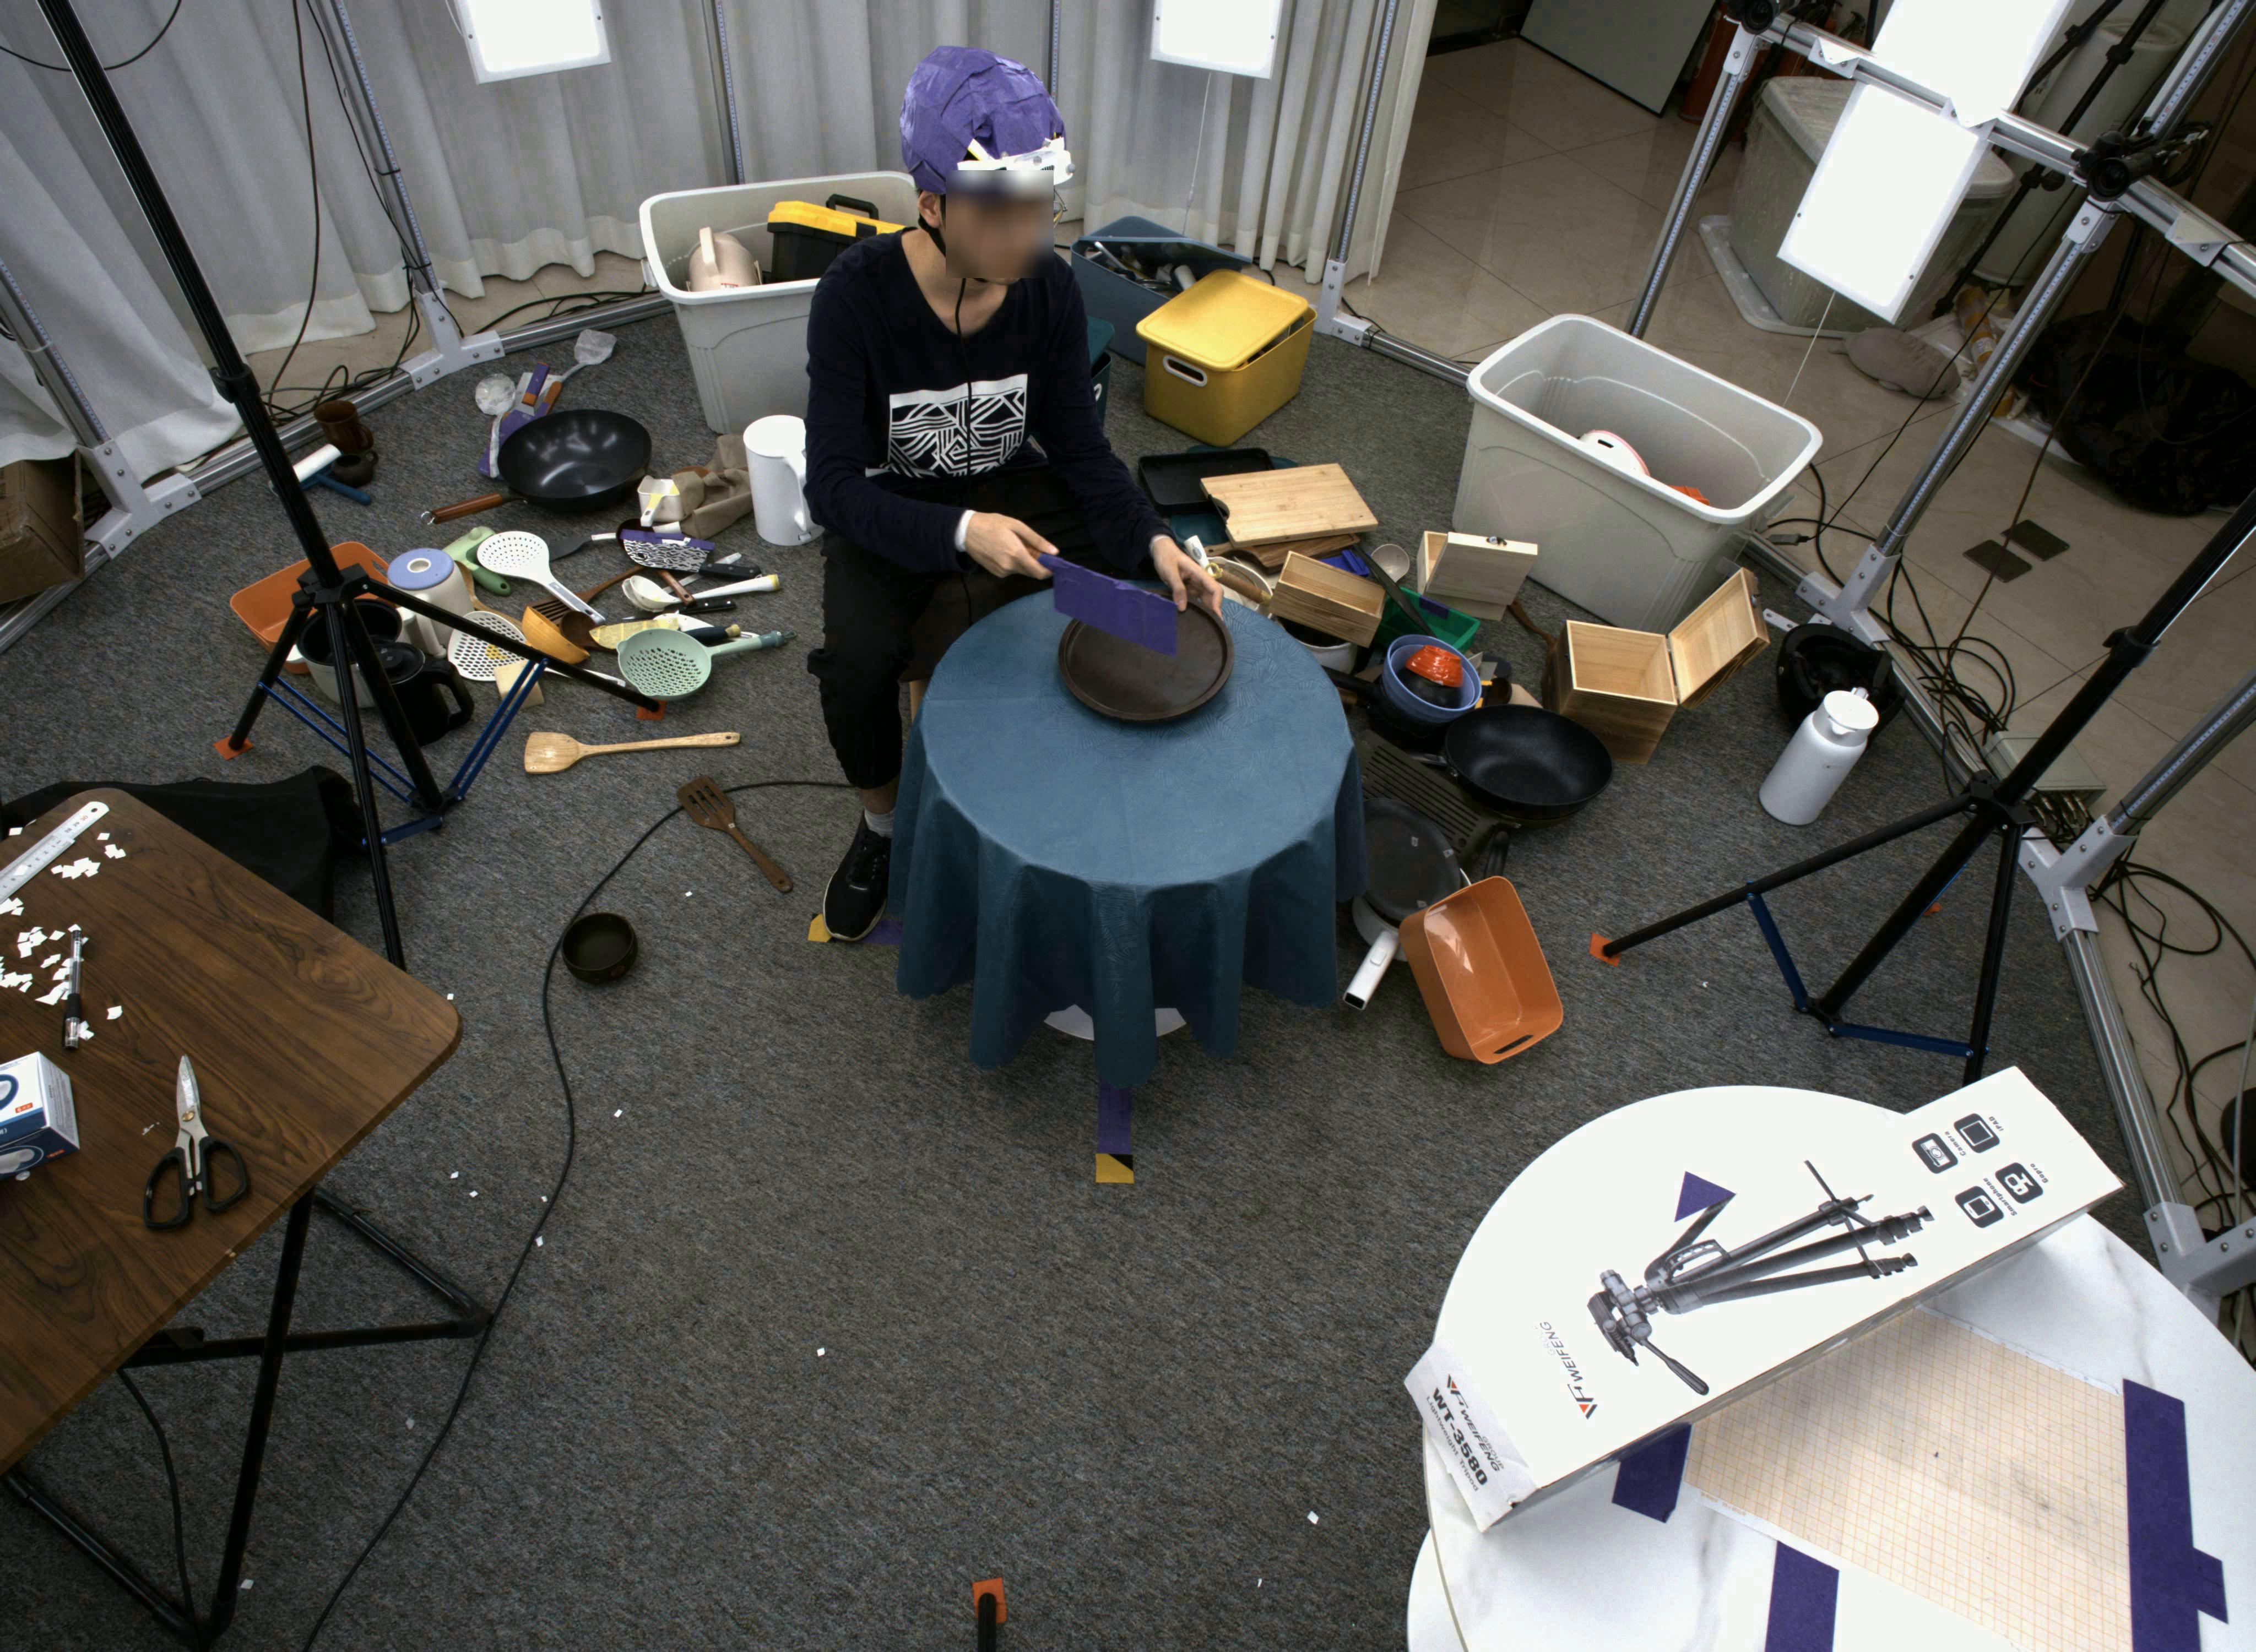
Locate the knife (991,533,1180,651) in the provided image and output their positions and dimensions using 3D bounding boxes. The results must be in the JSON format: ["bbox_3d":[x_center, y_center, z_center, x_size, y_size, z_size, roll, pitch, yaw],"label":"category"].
[{"bbox_3d":[-0.062,-0.324,1.802,0.319,0.101,0.032,26,46,27],"label":"knife"}]

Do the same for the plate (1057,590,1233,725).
[{"bbox_3d":[0.025,-0.245,1.848,0.255,0.028,0.261,-2,55,2],"label":"plate"}]
